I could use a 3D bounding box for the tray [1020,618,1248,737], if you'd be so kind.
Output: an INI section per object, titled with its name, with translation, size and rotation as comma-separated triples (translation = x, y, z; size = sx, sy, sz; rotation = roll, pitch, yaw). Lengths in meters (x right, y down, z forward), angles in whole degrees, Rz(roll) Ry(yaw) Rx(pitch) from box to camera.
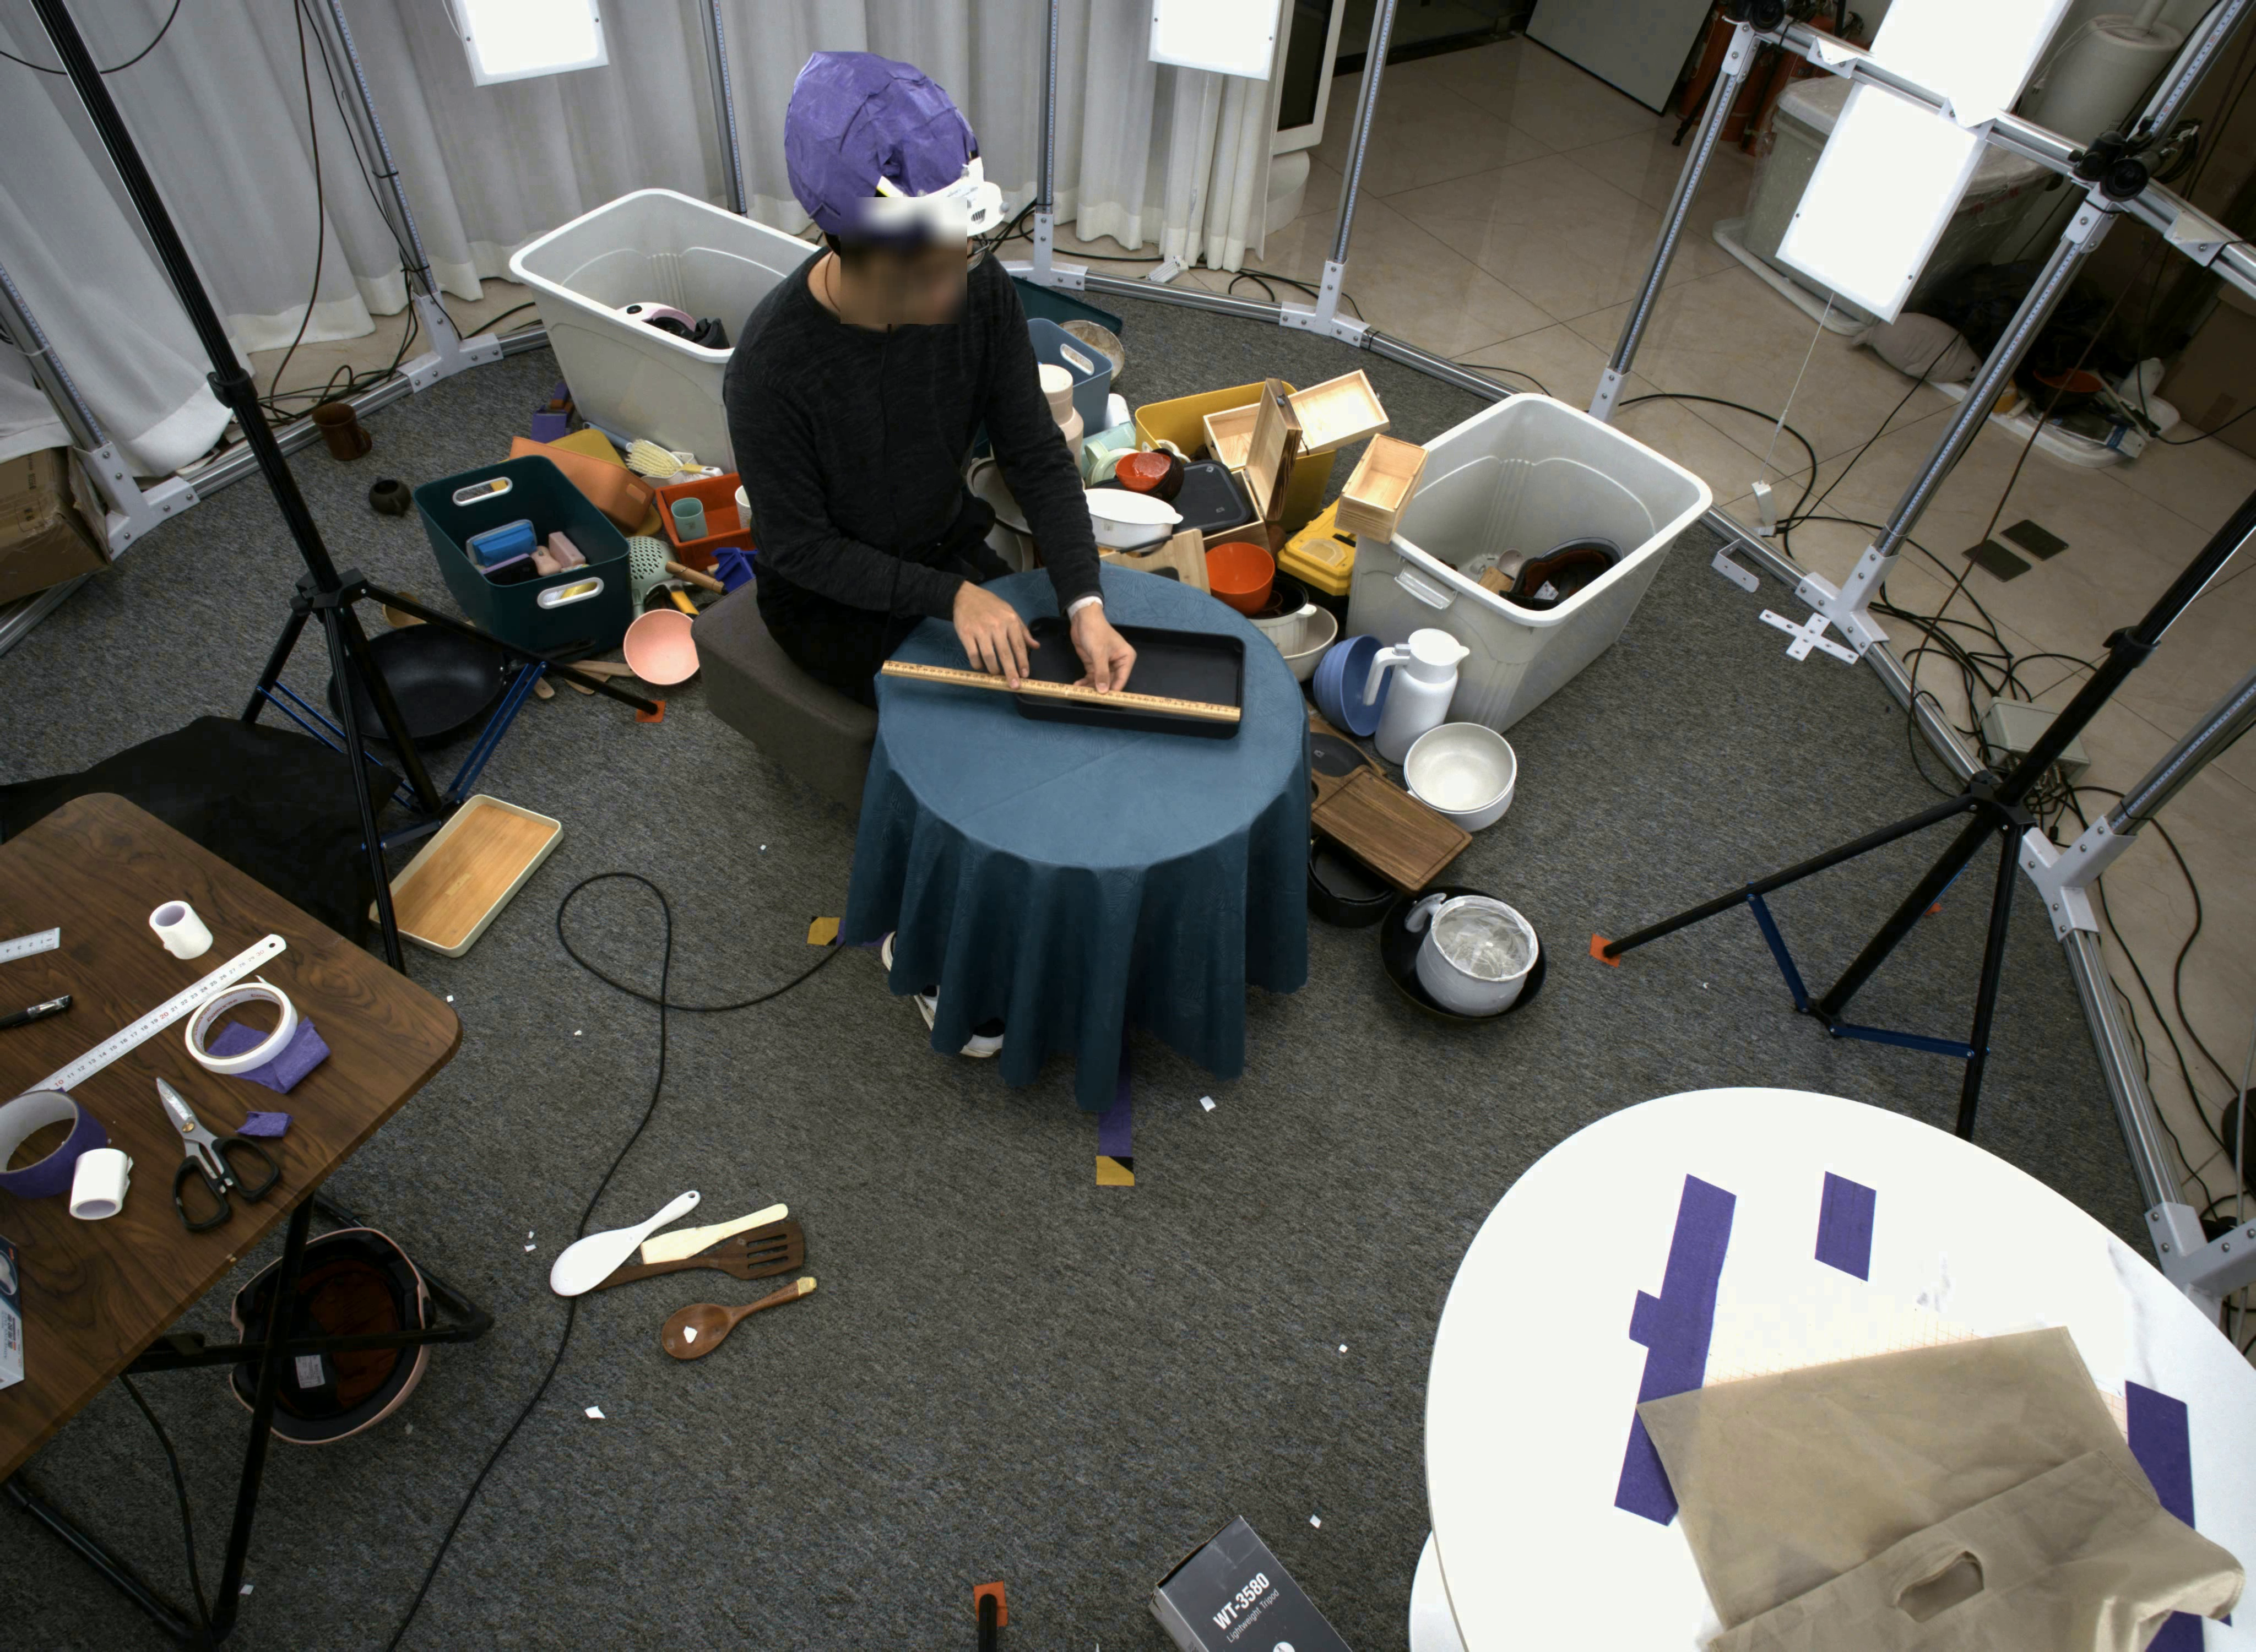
[tray]
translation = 0.012, -0.213, 1.833
size = 0.318, 0.036, 0.189
rotation = 5, 49, 1

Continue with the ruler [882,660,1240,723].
[ruler]
translation = -0.092, -0.188, 1.779
size = 0.501, 0.006, 0.027
rotation = 8, 47, 4
